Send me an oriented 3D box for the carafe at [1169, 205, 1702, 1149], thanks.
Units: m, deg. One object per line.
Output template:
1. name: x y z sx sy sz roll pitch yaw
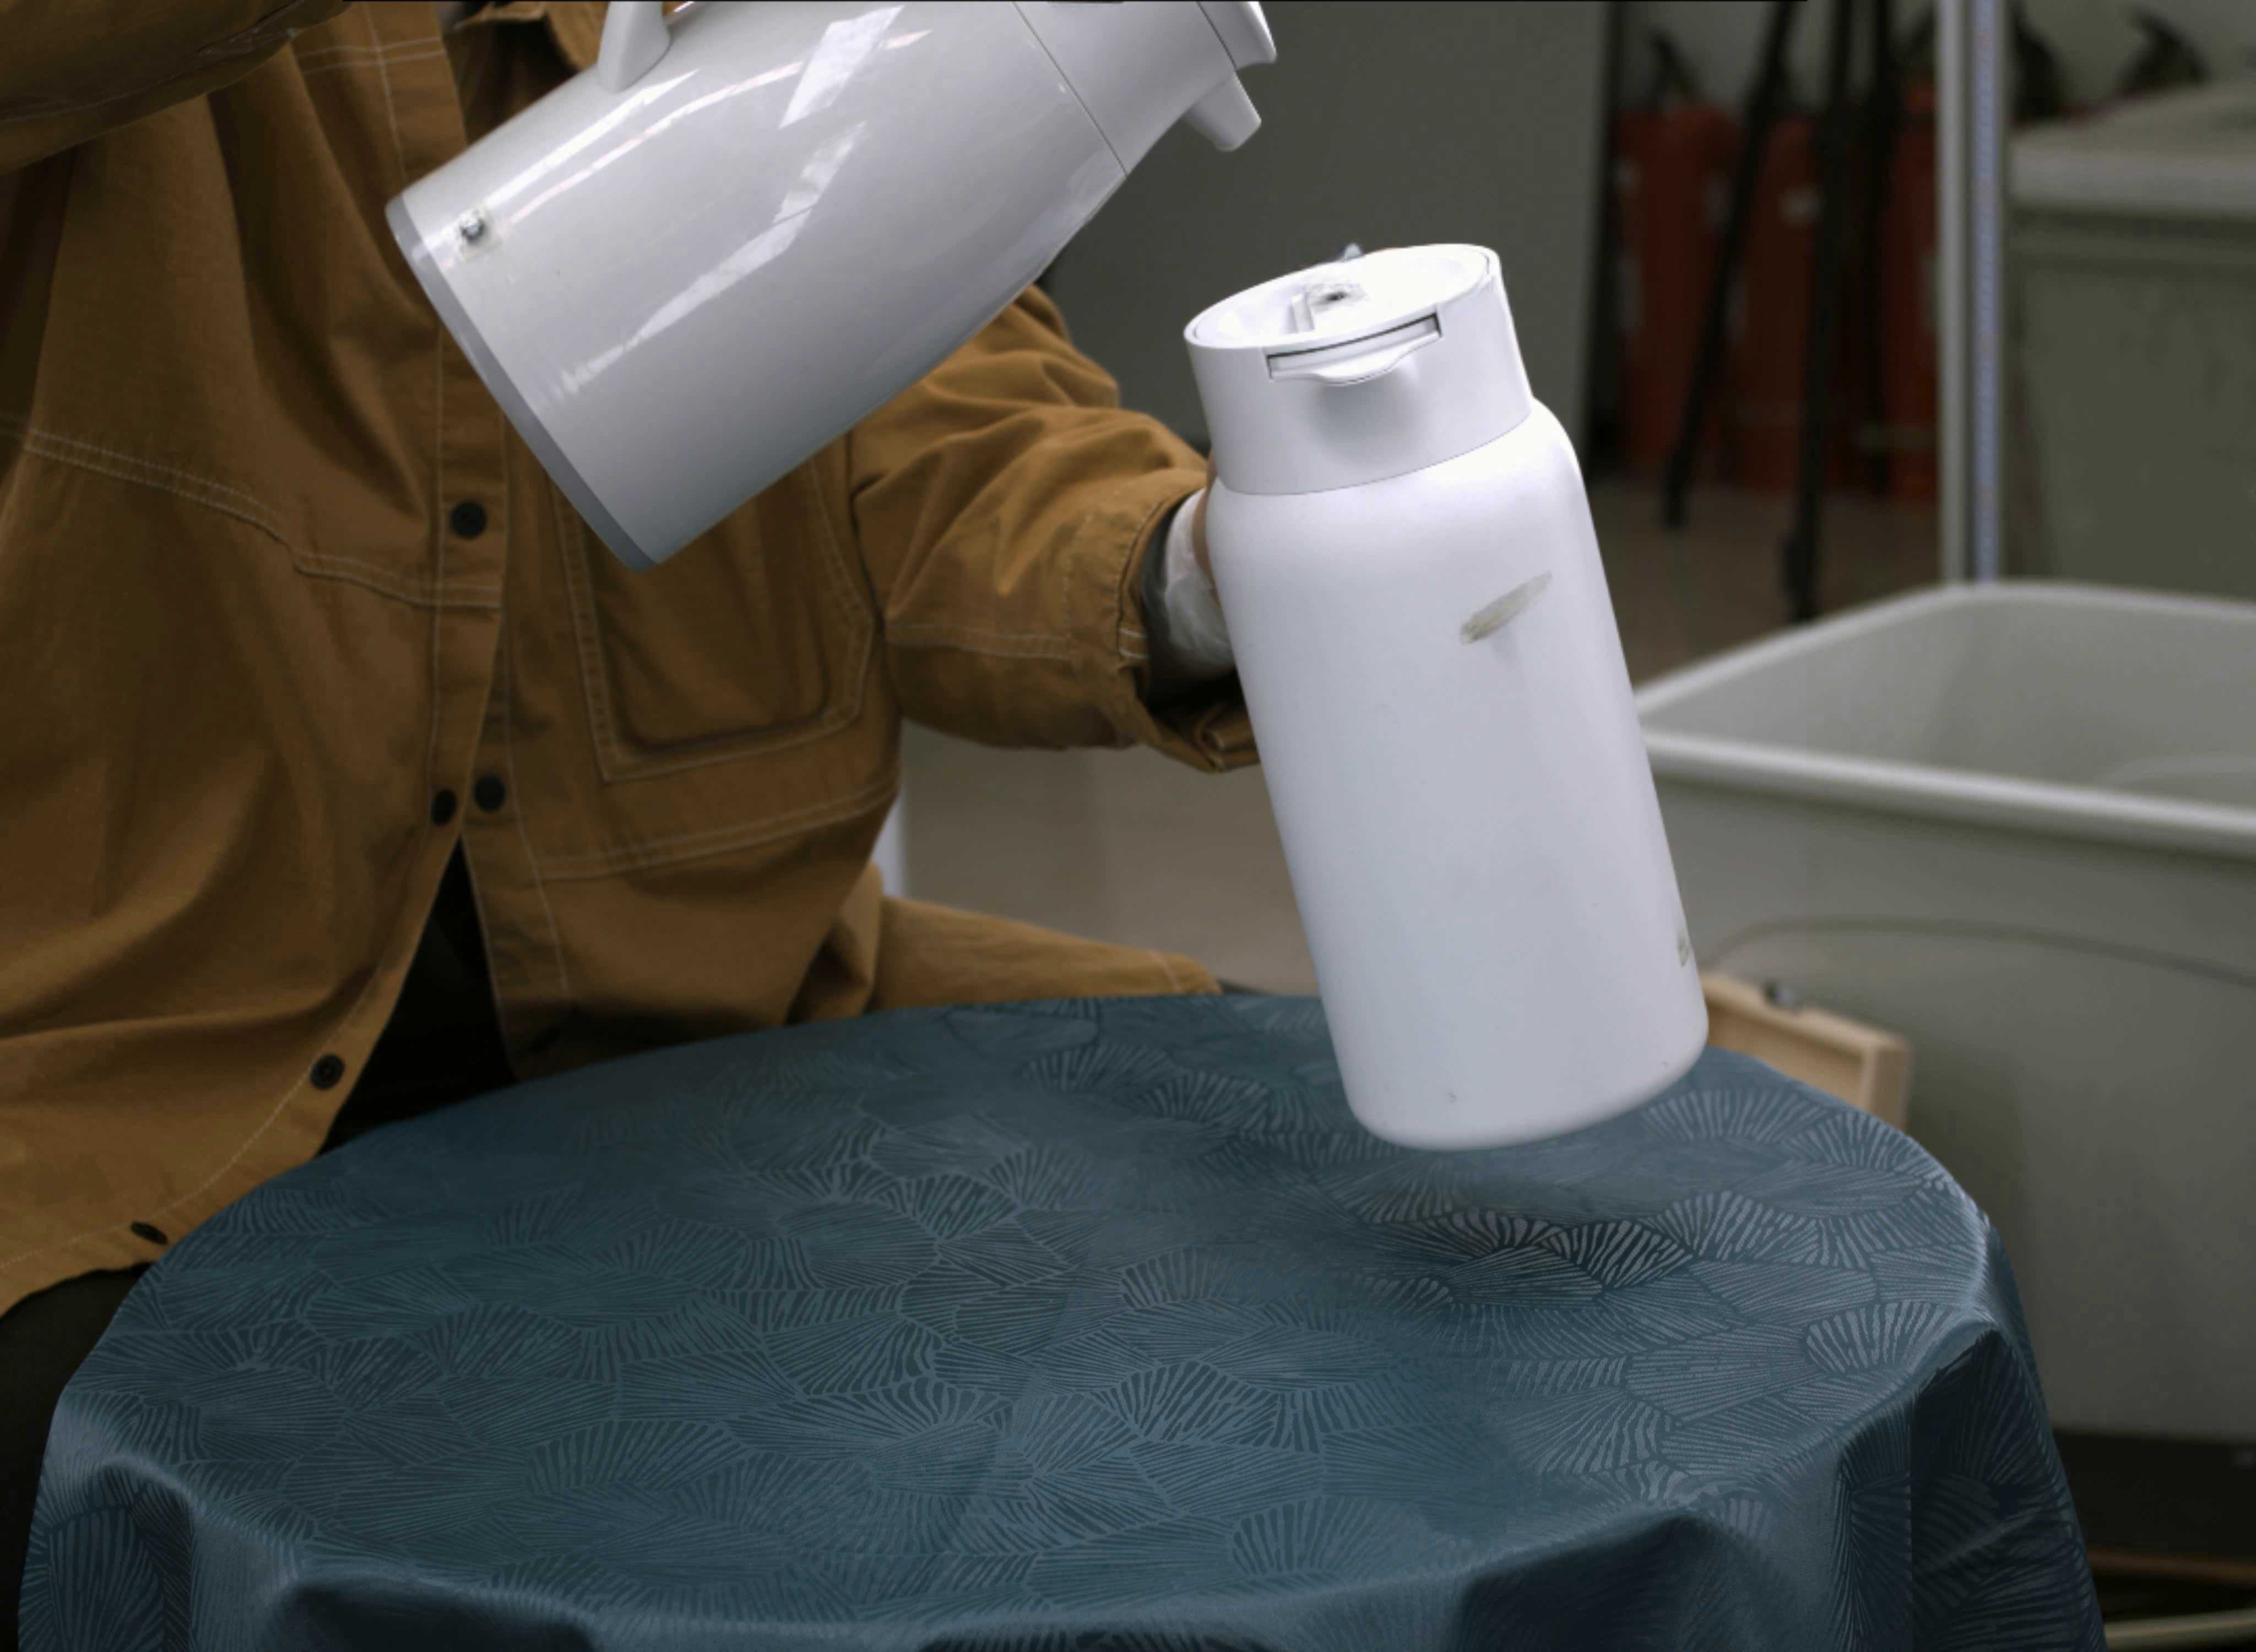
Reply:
1. carafe: 0.091 -0.049 1.671 0.123 0.270 0.173 -16 16 4

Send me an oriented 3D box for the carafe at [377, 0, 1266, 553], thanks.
1. carafe: -0.089 -0.216 1.561 0.248 0.166 0.134 -34 30 3
